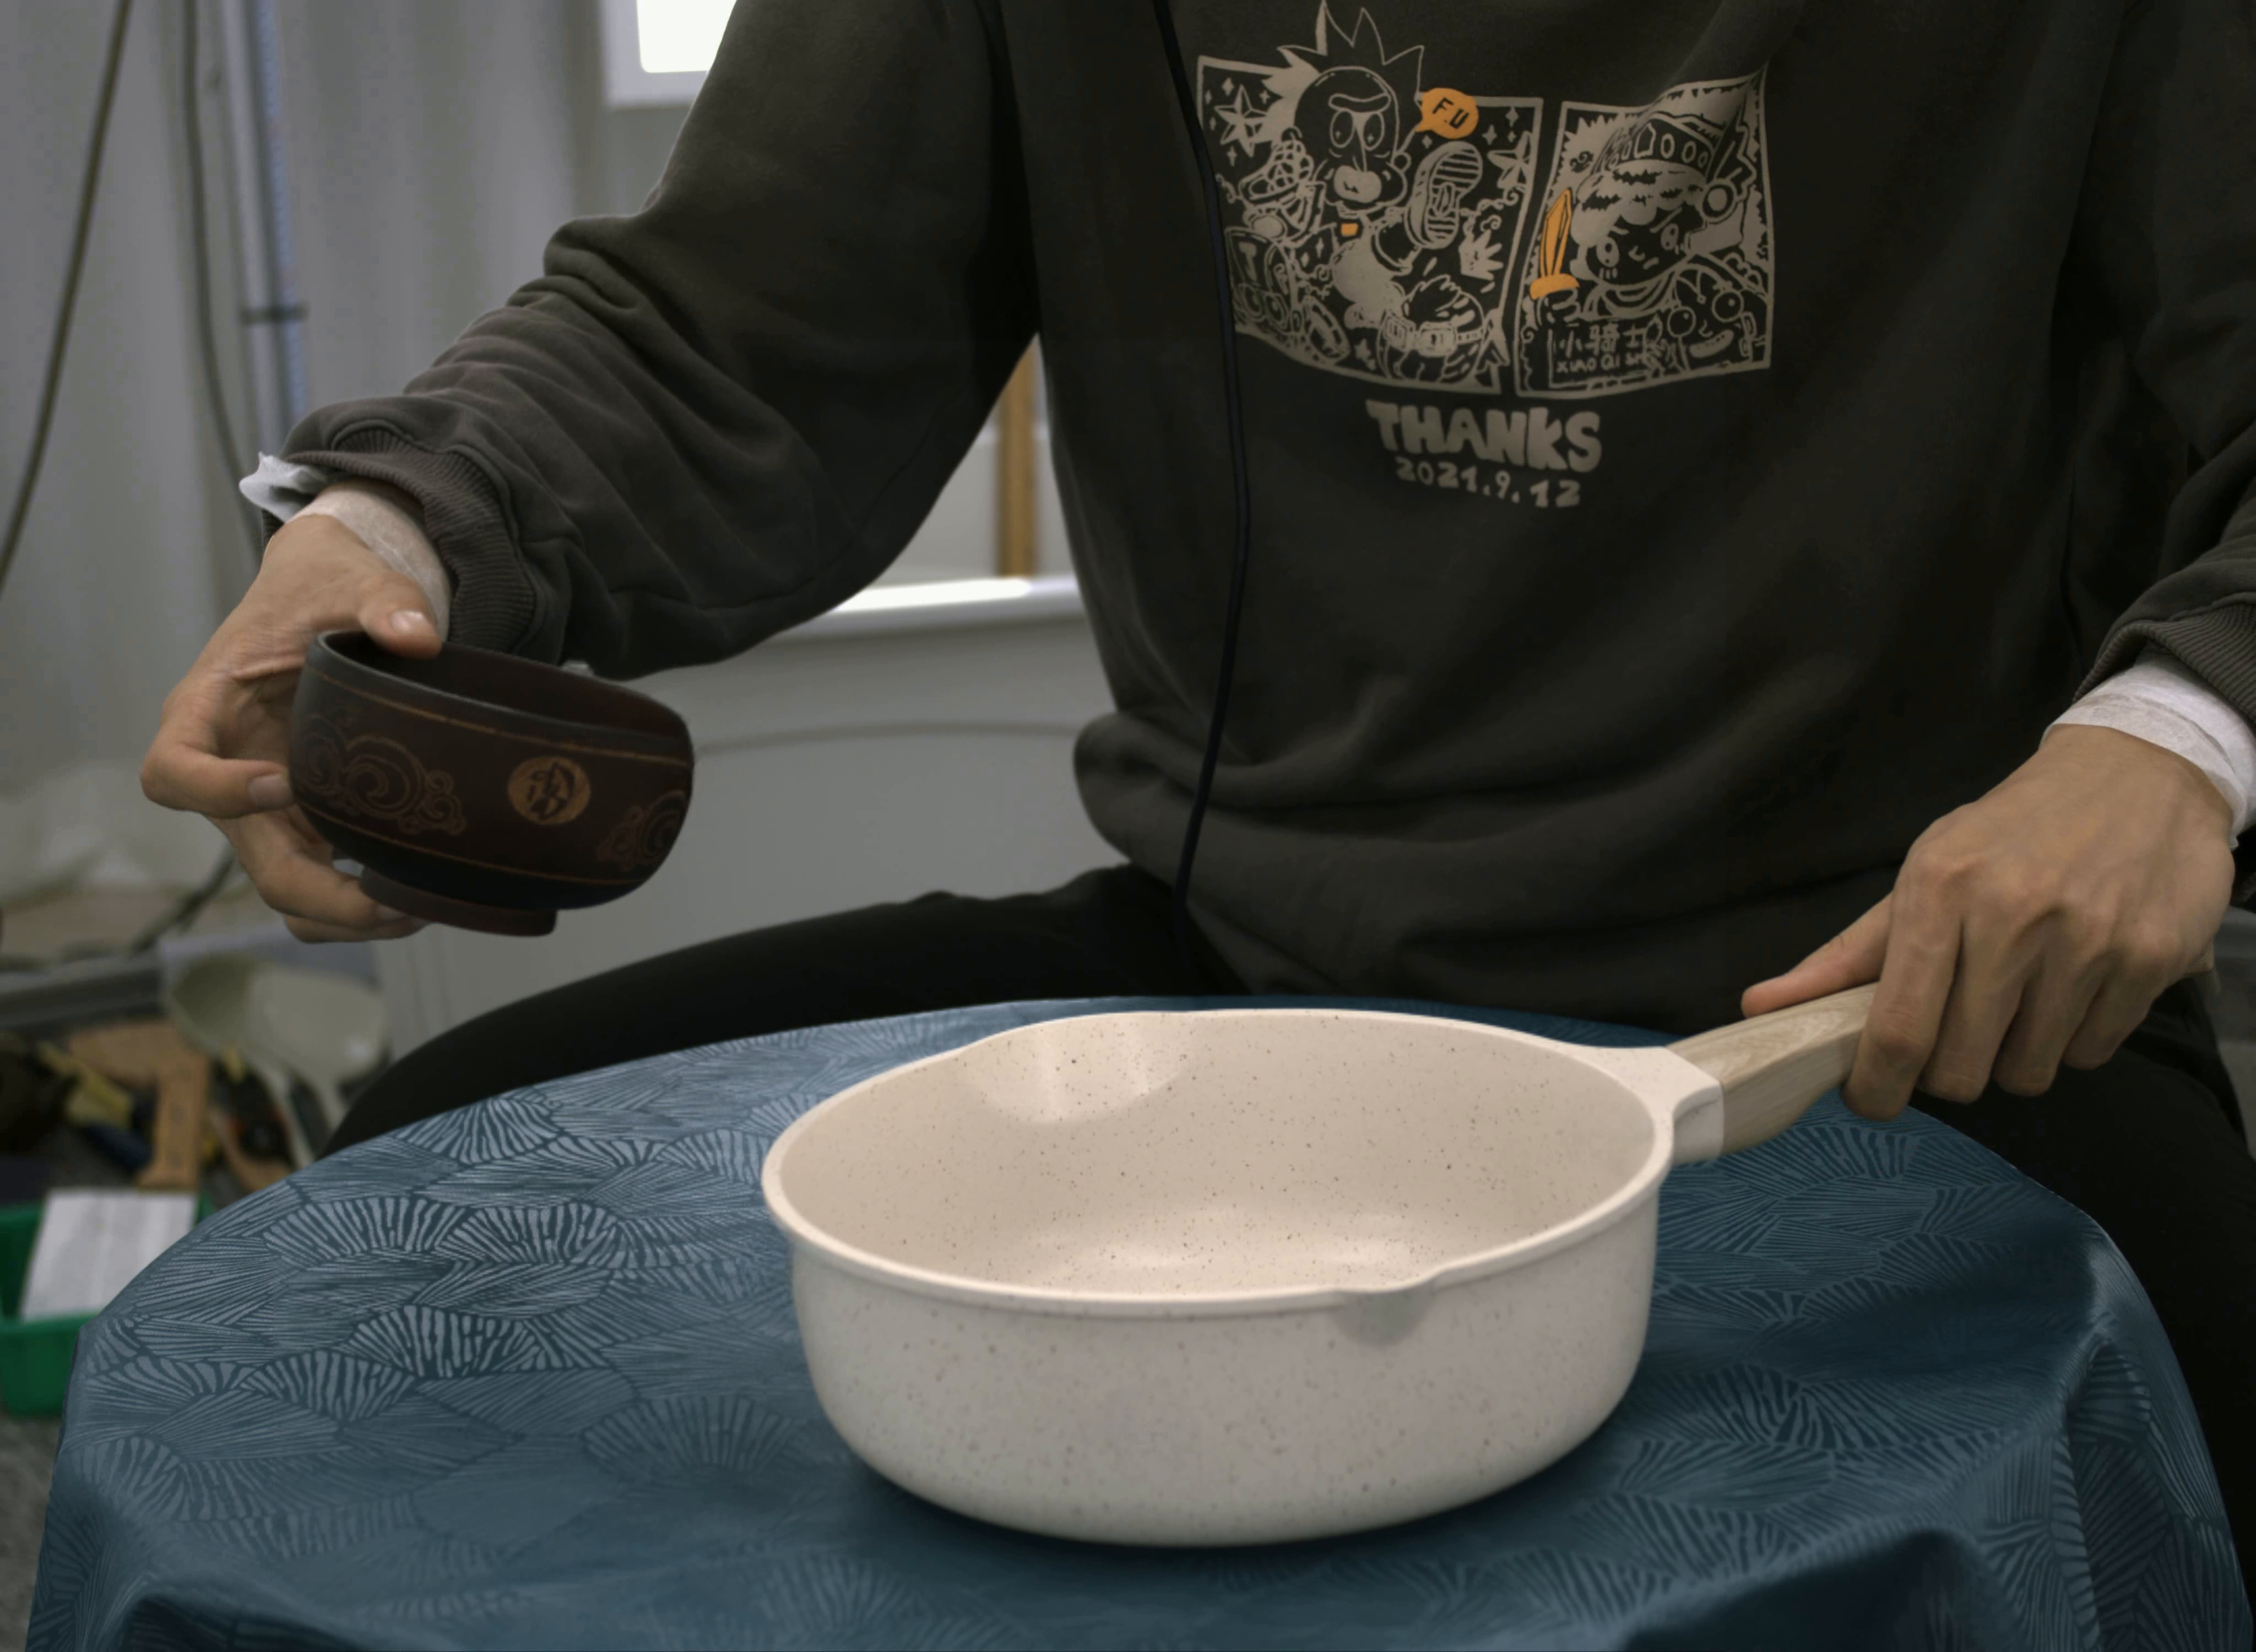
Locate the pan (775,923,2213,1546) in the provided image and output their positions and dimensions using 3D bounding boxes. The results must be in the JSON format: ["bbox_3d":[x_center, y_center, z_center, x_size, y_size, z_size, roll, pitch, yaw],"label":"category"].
[{"bbox_3d":[0.115,0.108,1.537,0.433,0.101,0.265,-8,14,-19],"label":"pan"}]

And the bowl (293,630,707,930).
[{"bbox_3d":[-0.184,-0.010,1.580,0.117,0.070,0.118,12,6,-1],"label":"bowl"}]
